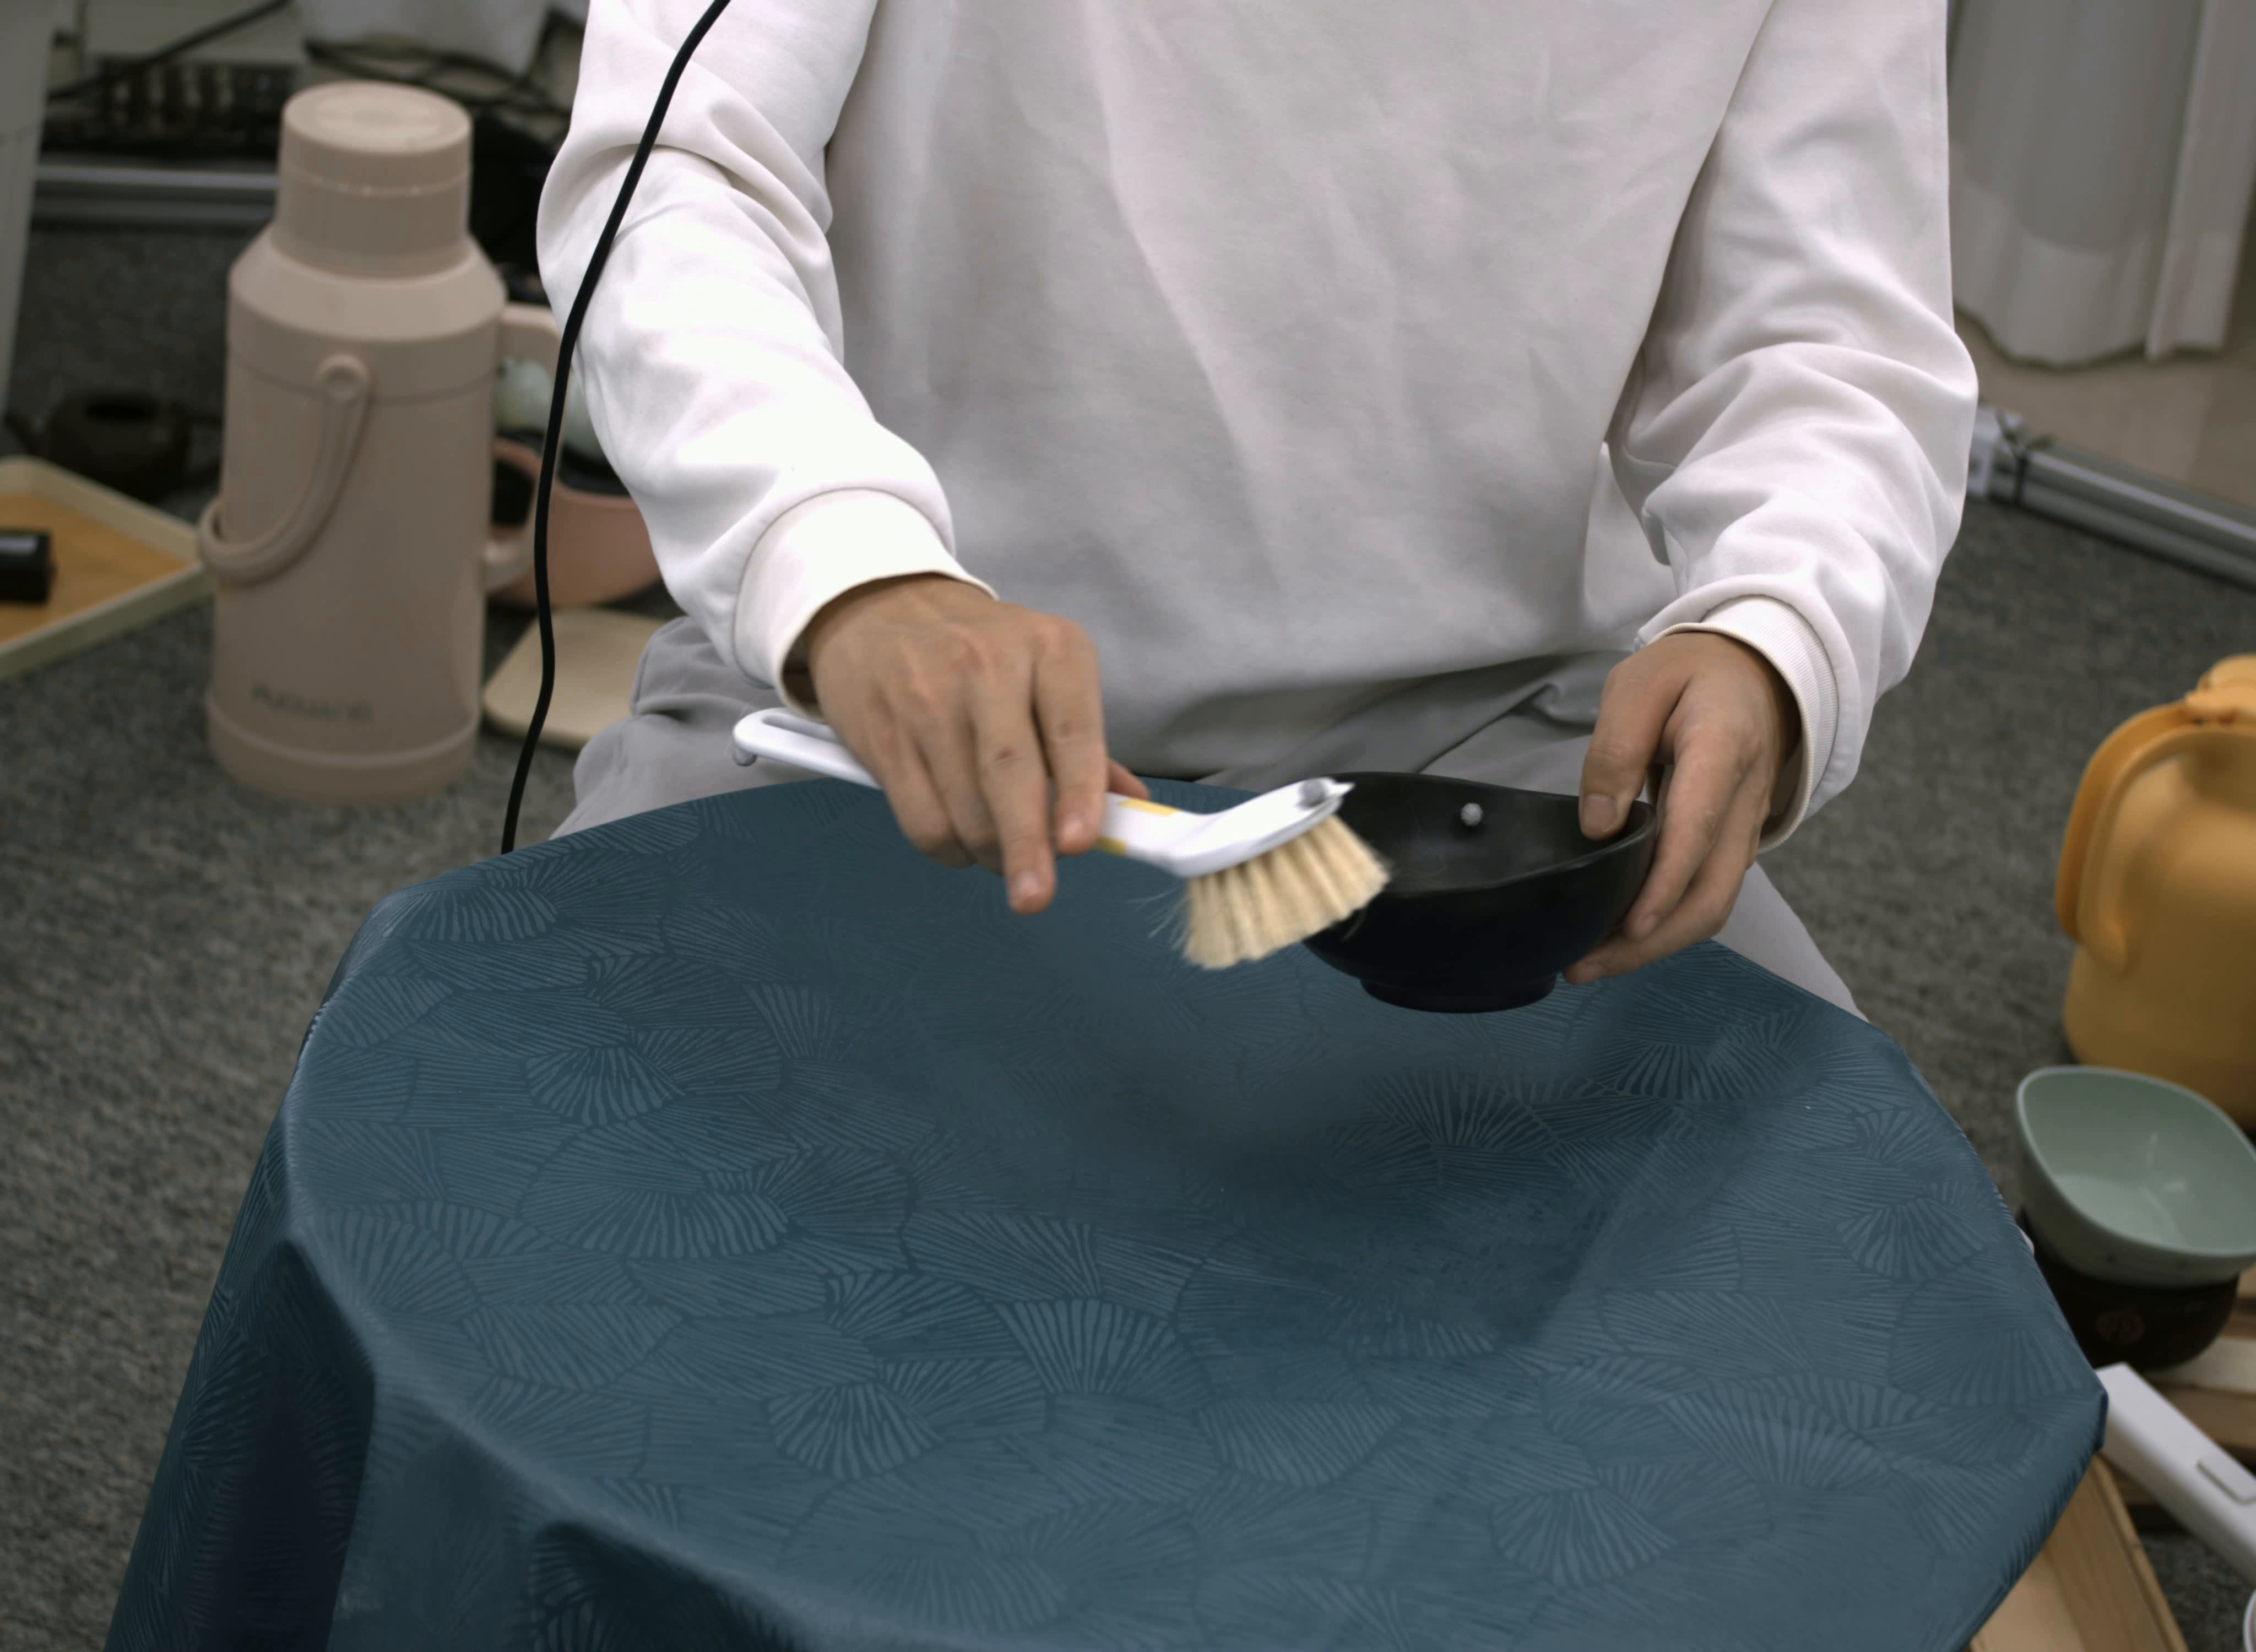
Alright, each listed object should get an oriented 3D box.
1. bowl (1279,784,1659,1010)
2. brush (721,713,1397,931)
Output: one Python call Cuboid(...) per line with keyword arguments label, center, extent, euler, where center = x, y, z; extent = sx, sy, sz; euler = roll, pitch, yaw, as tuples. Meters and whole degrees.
Cuboid(label="bowl", center=(0.112, 0.025, 1.834), extent=(0.138, 0.066, 0.170), euler=(7, 14, 24))
Cuboid(label="brush", center=(-0.027, -0.003, 1.780), extent=(0.268, 0.056, 0.068), euler=(5, 17, 36))
